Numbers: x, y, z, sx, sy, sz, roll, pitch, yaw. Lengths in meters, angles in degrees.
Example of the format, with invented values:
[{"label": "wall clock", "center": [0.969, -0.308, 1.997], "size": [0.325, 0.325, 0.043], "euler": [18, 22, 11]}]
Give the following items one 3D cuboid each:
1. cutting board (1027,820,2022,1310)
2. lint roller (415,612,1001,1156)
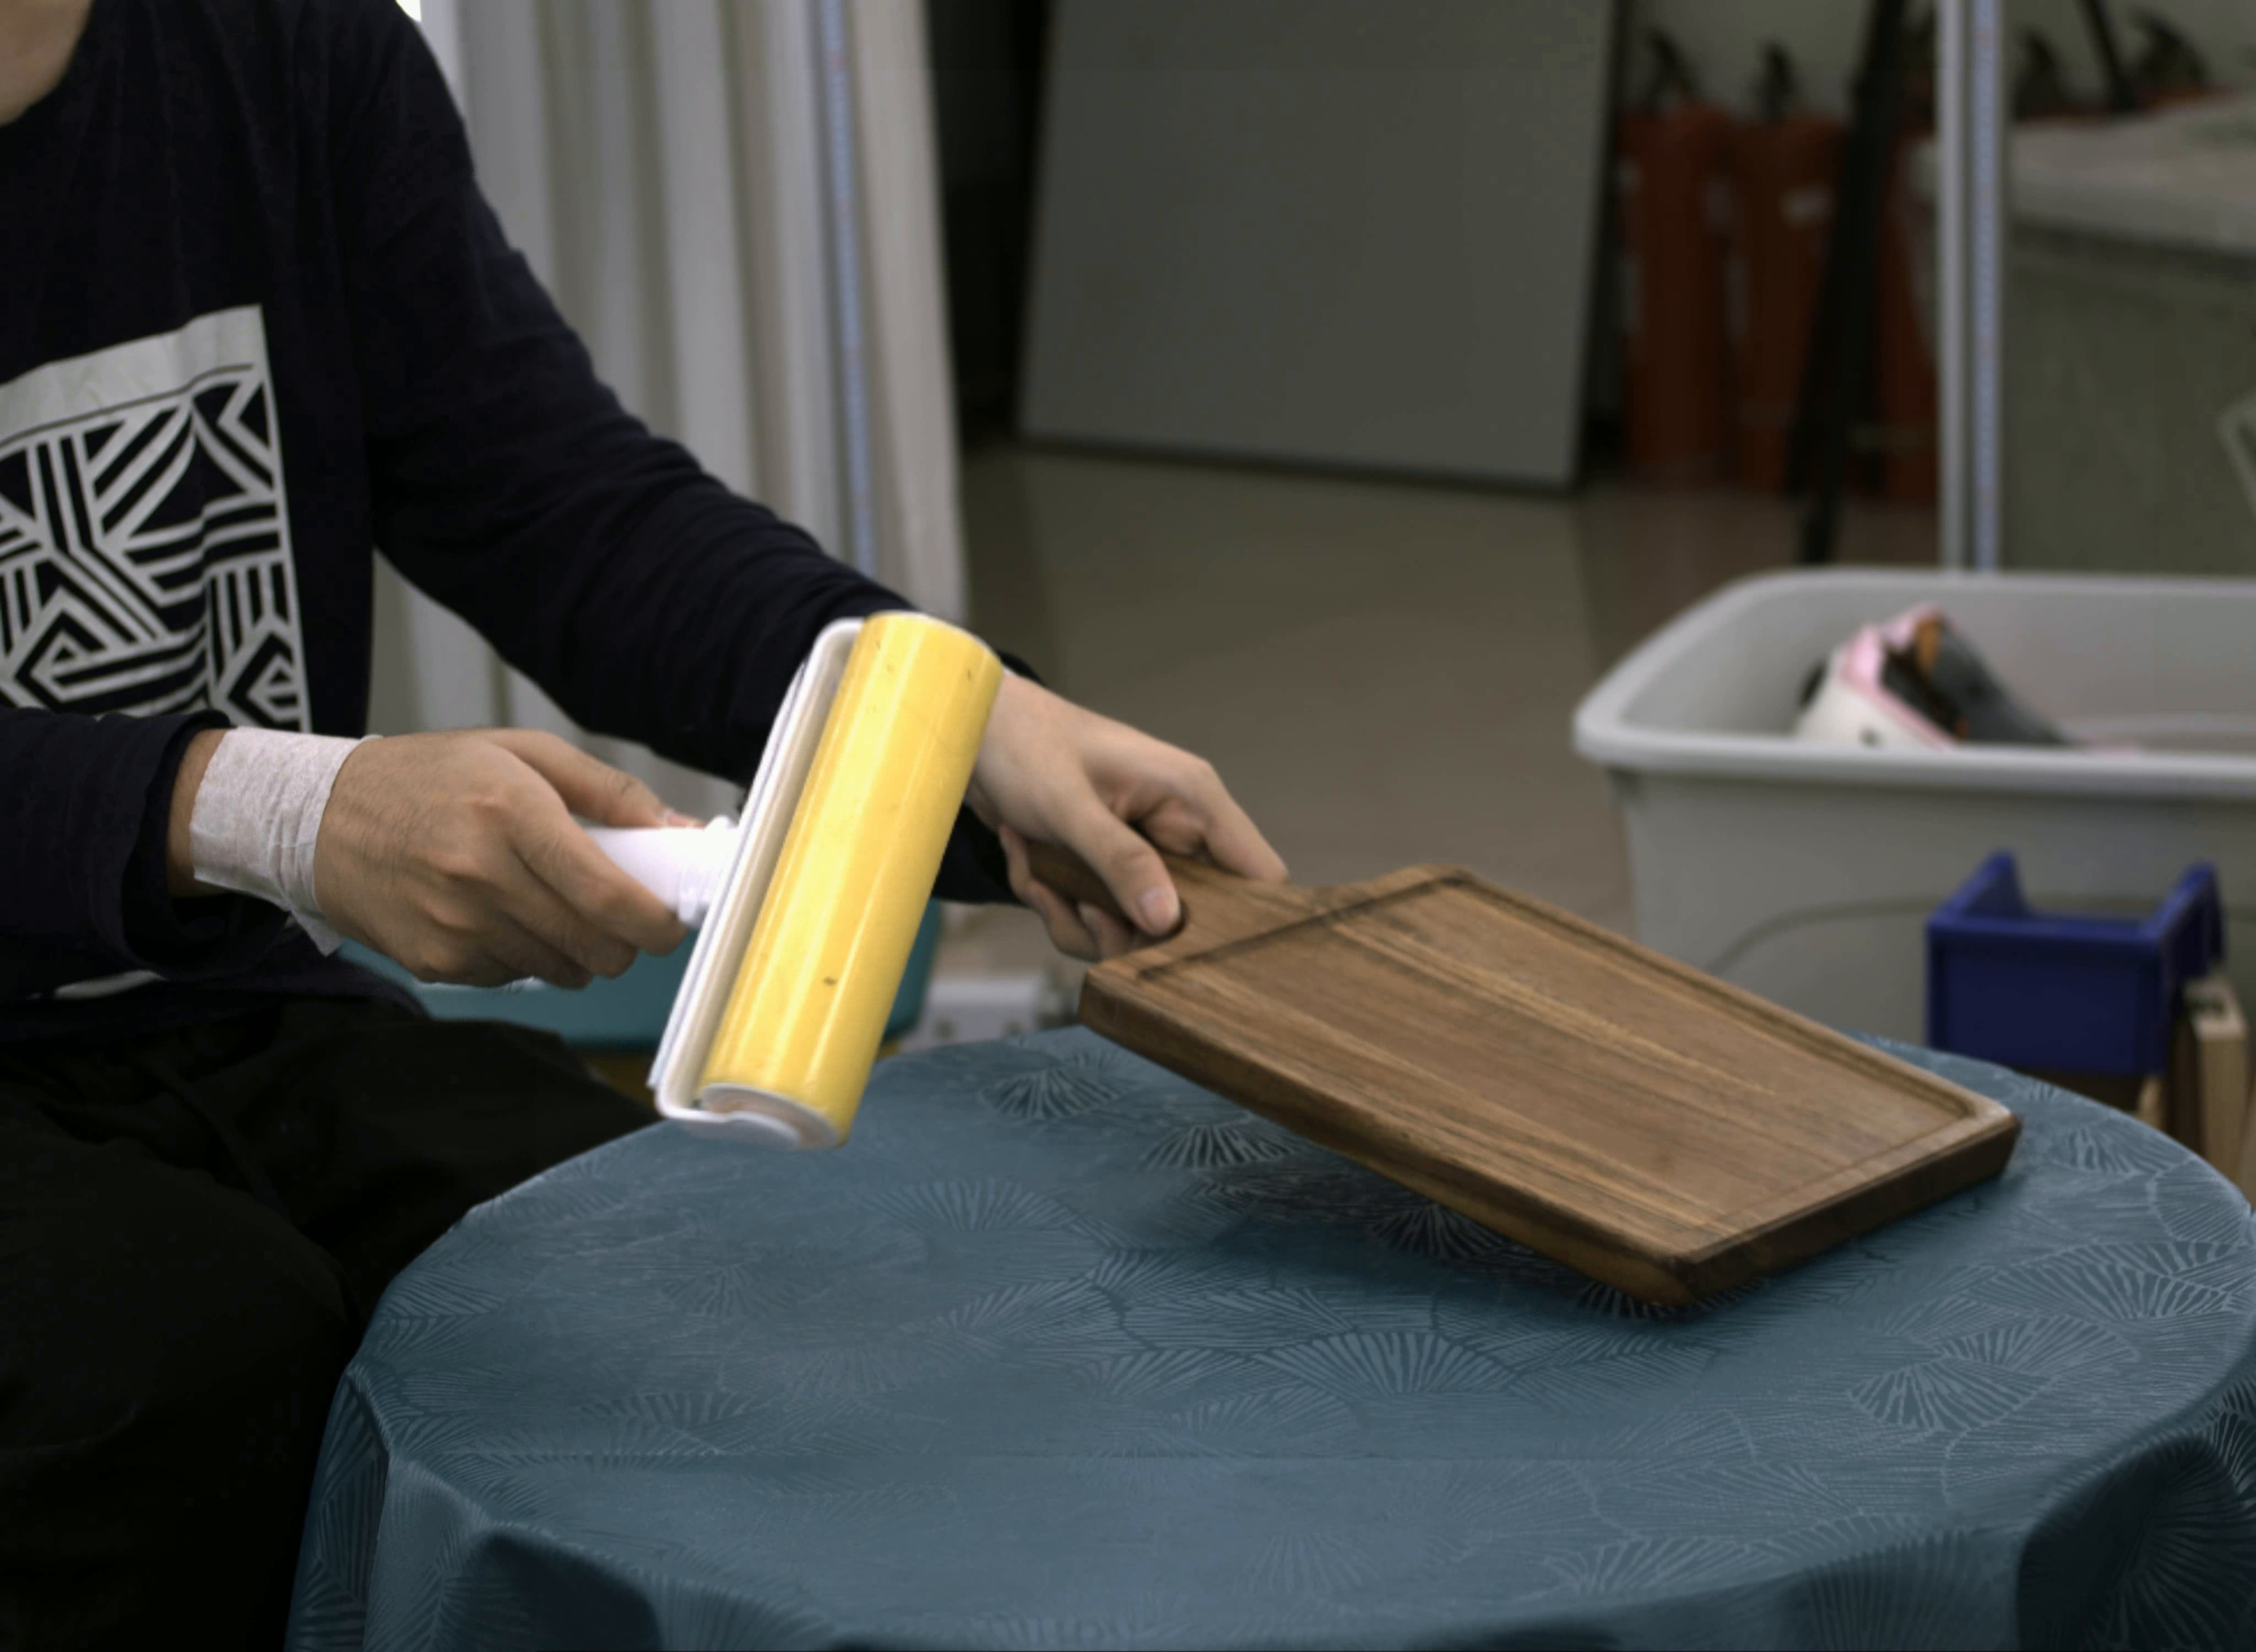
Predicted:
[{"label": "cutting board", "center": [0.101, 0.063, 1.772], "size": [0.355, 0.023, 0.197], "euler": [23, 26, 37]}, {"label": "lint roller", "center": [-0.146, 0.013, 1.653], "size": [0.192, 0.175, 0.051], "euler": [4, -29, 28]}]
